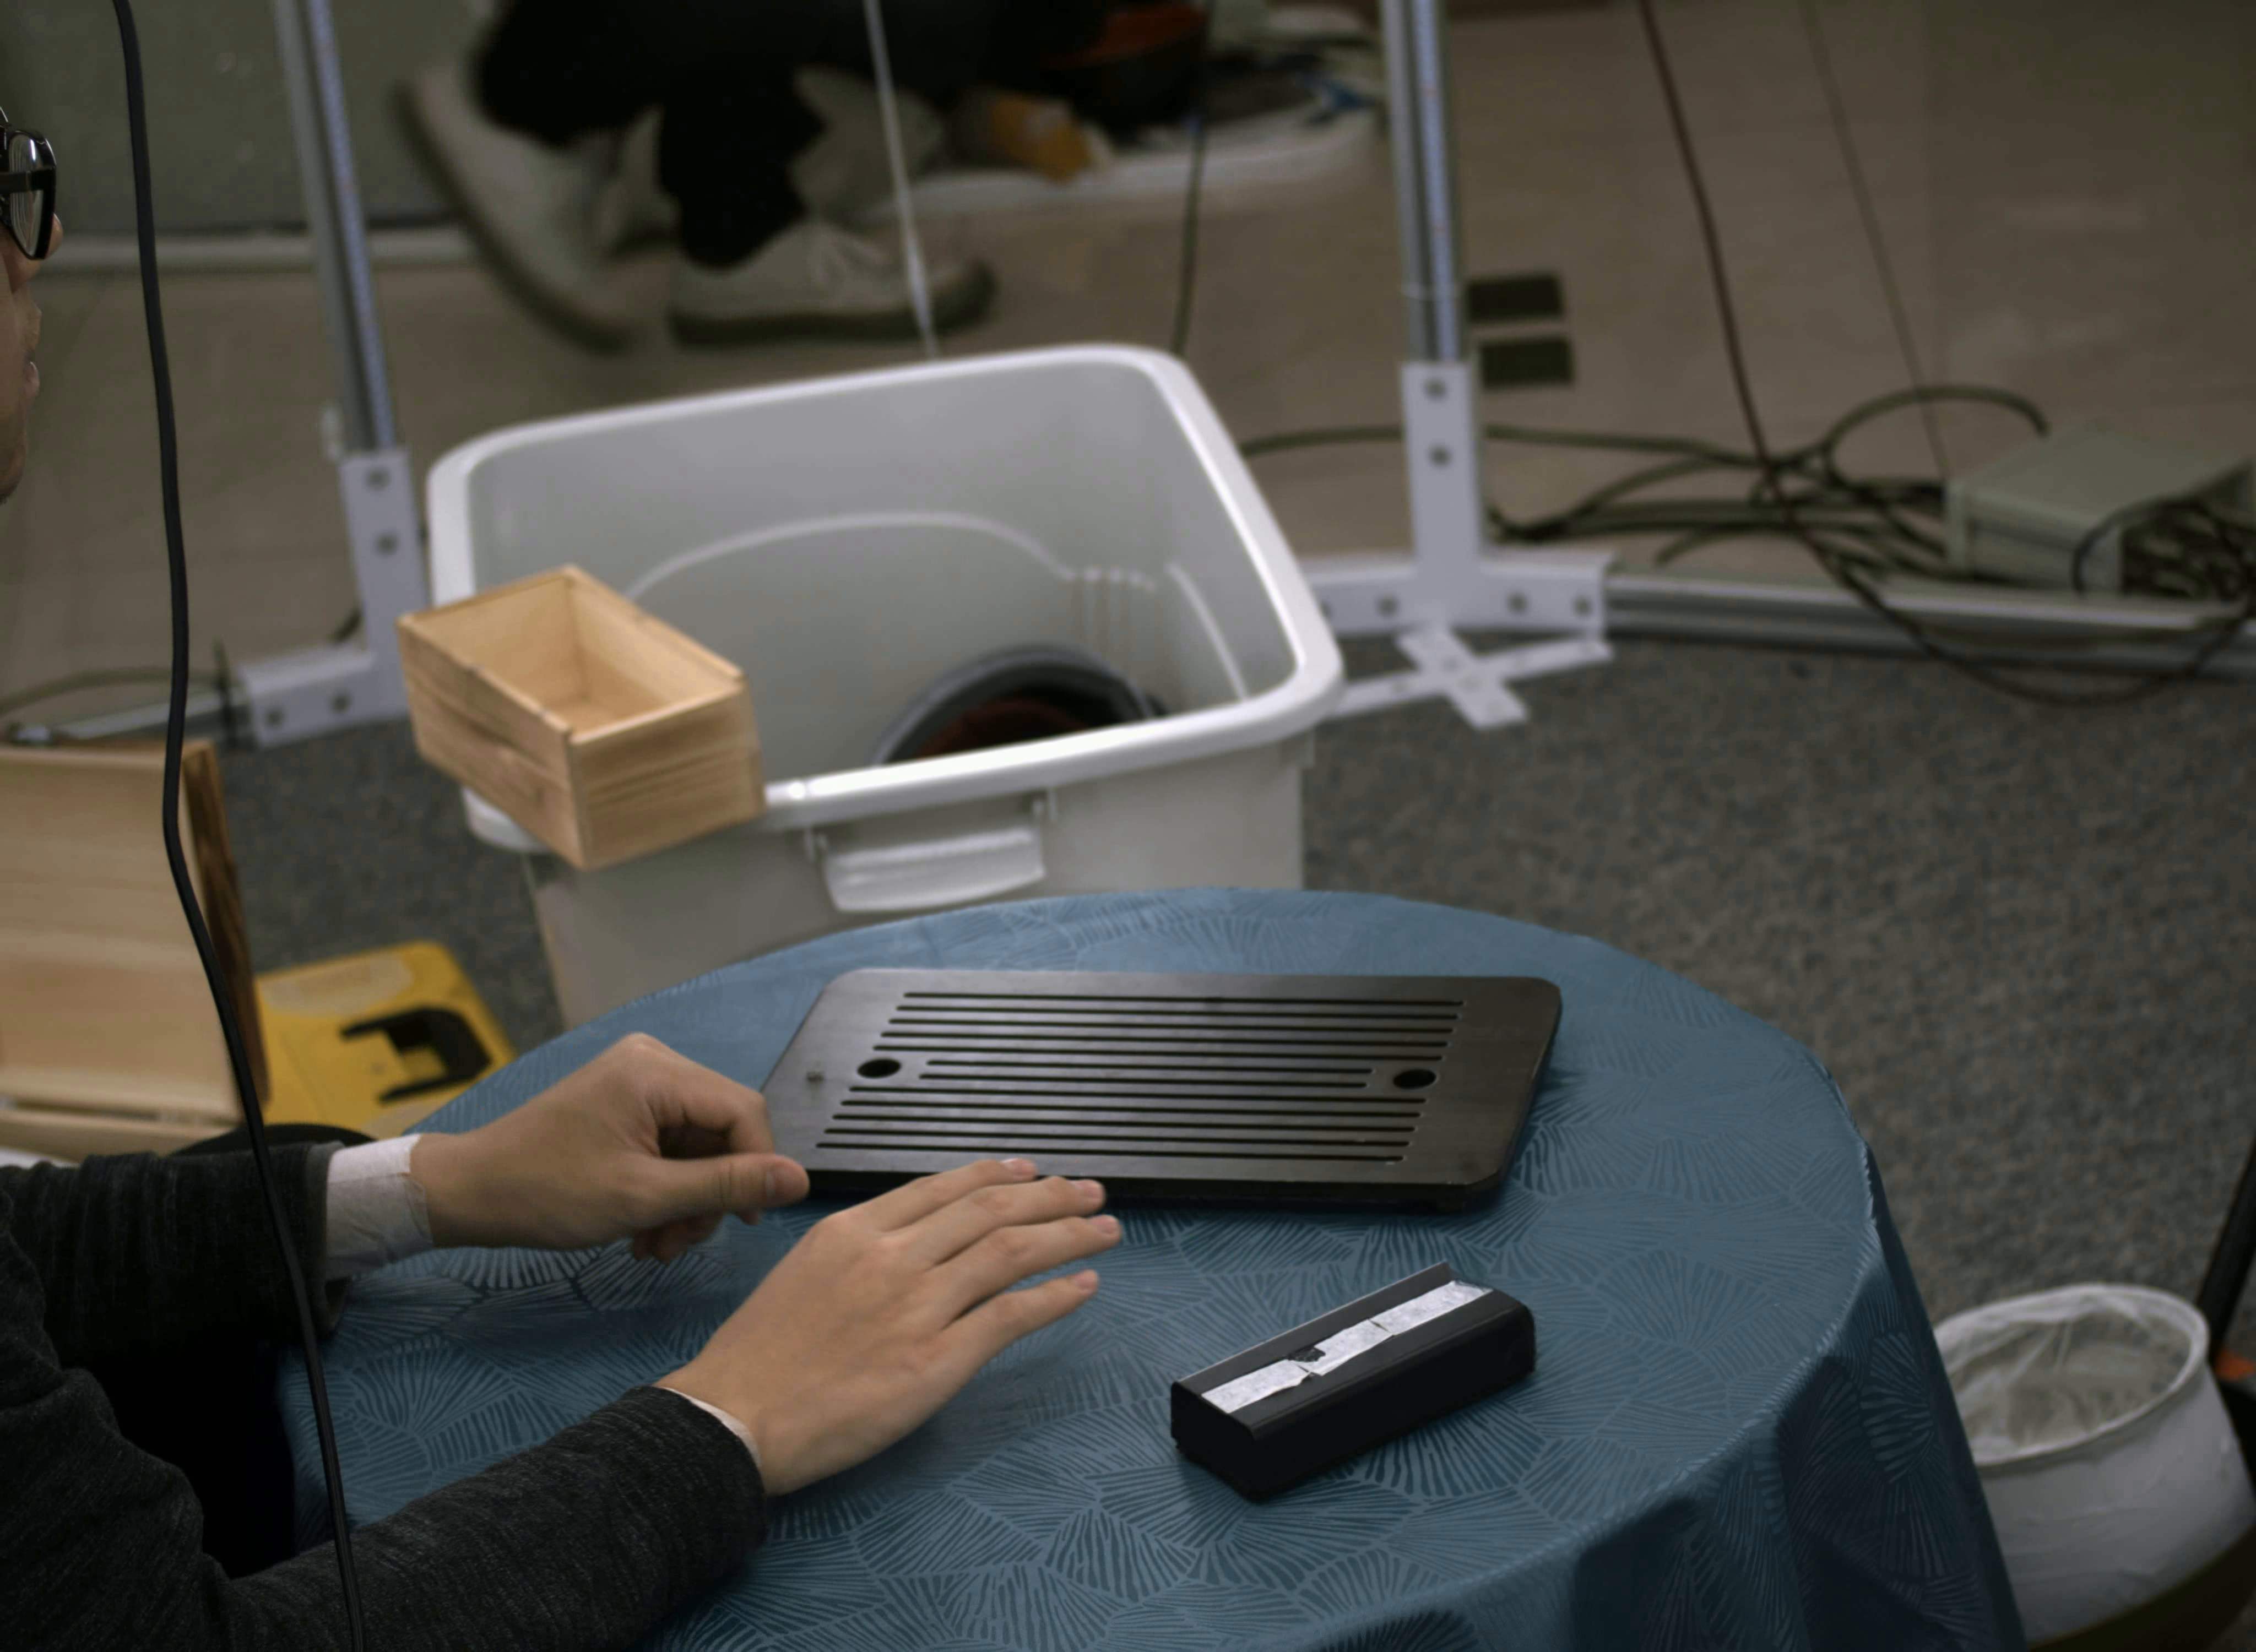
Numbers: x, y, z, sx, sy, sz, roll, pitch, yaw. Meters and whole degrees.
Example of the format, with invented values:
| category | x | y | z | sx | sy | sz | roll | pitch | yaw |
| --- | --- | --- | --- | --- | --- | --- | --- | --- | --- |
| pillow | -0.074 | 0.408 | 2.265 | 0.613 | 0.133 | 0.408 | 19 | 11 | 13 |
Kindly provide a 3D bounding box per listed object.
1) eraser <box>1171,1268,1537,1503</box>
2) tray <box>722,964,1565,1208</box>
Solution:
| category | x | y | z | sx | sy | sz | roll | pitch | yaw |
| --- | --- | --- | --- | --- | --- | --- | --- | --- | --- |
| eraser | 0.080 | 0.193 | 1.979 | 0.124 | 0.031 | 0.053 | -23 | 27 | -29 |
| tray | 0.008 | 0.101 | 2.207 | 0.305 | 0.019 | 0.167 | 0 | 26 | 15 |
